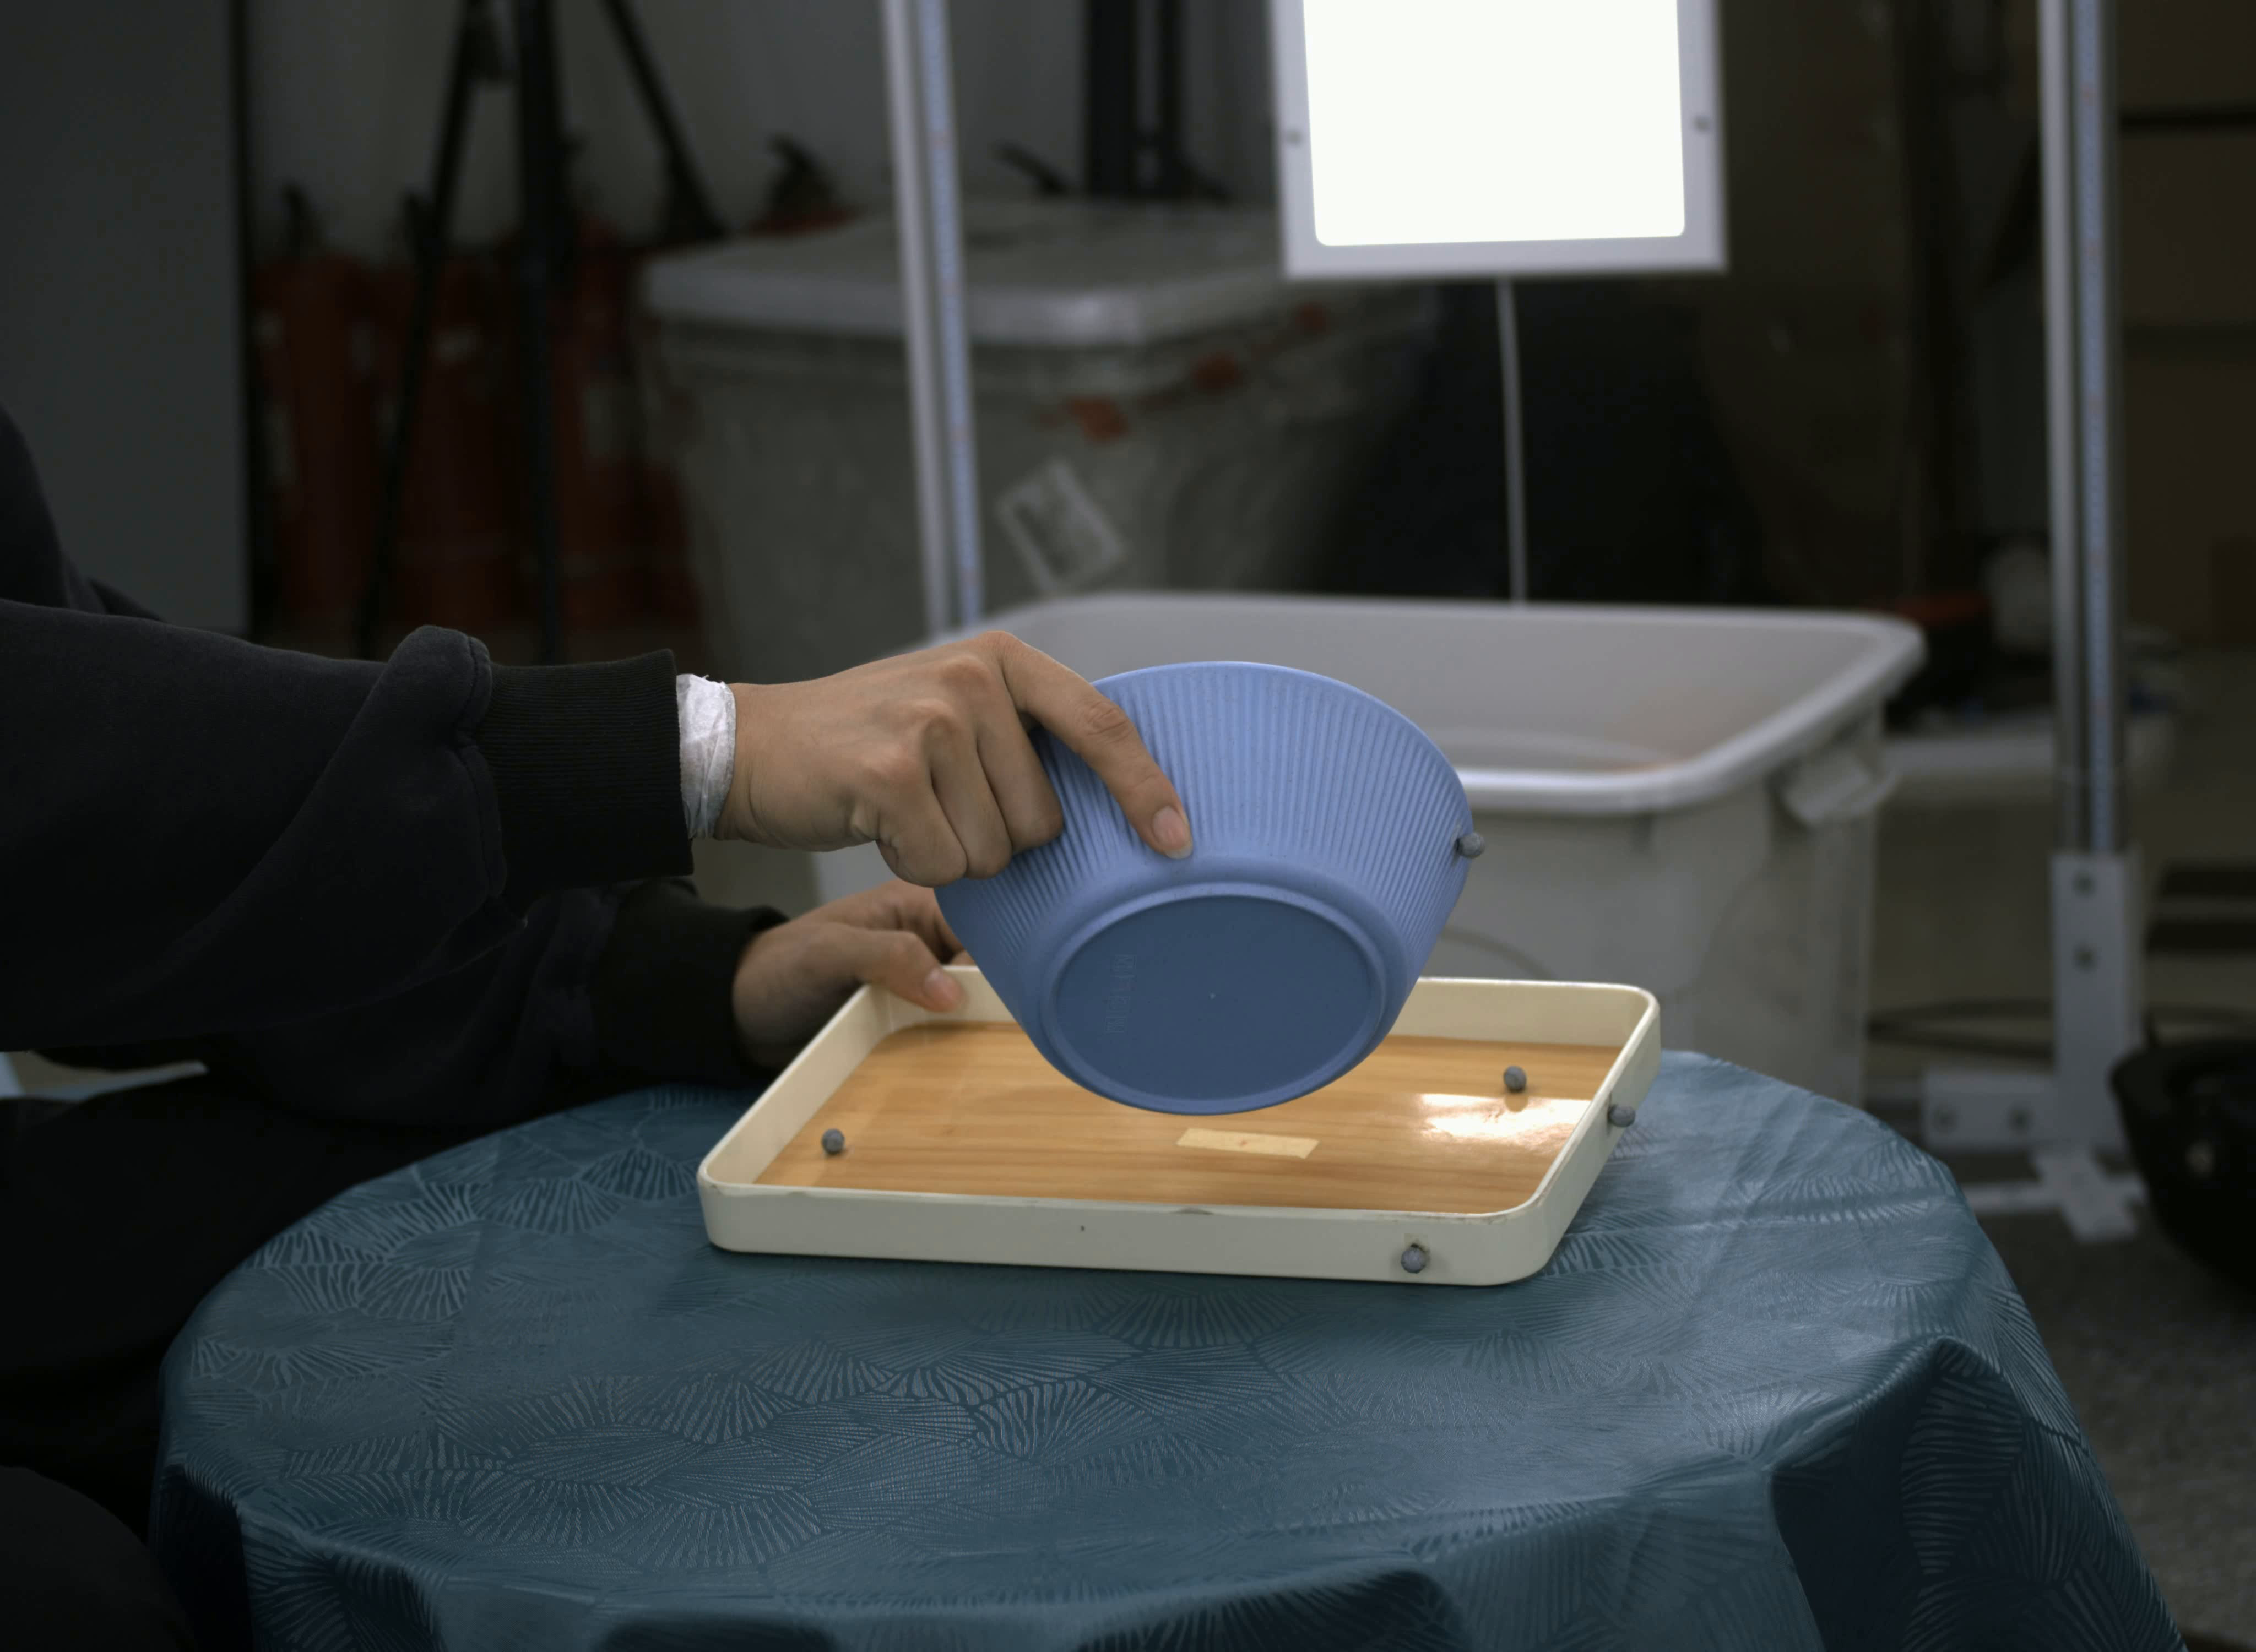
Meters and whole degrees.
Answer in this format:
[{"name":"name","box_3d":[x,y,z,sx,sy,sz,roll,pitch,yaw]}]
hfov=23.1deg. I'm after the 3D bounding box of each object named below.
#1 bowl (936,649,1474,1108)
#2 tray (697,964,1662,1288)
[{"name":"bowl","box_3d":[0.027,0.028,1.751,0.176,0.177,0.070,-3,46,1]},{"name":"tray","box_3d":[0.020,0.100,1.893,0.304,0.027,0.188,1,23,22]}]
